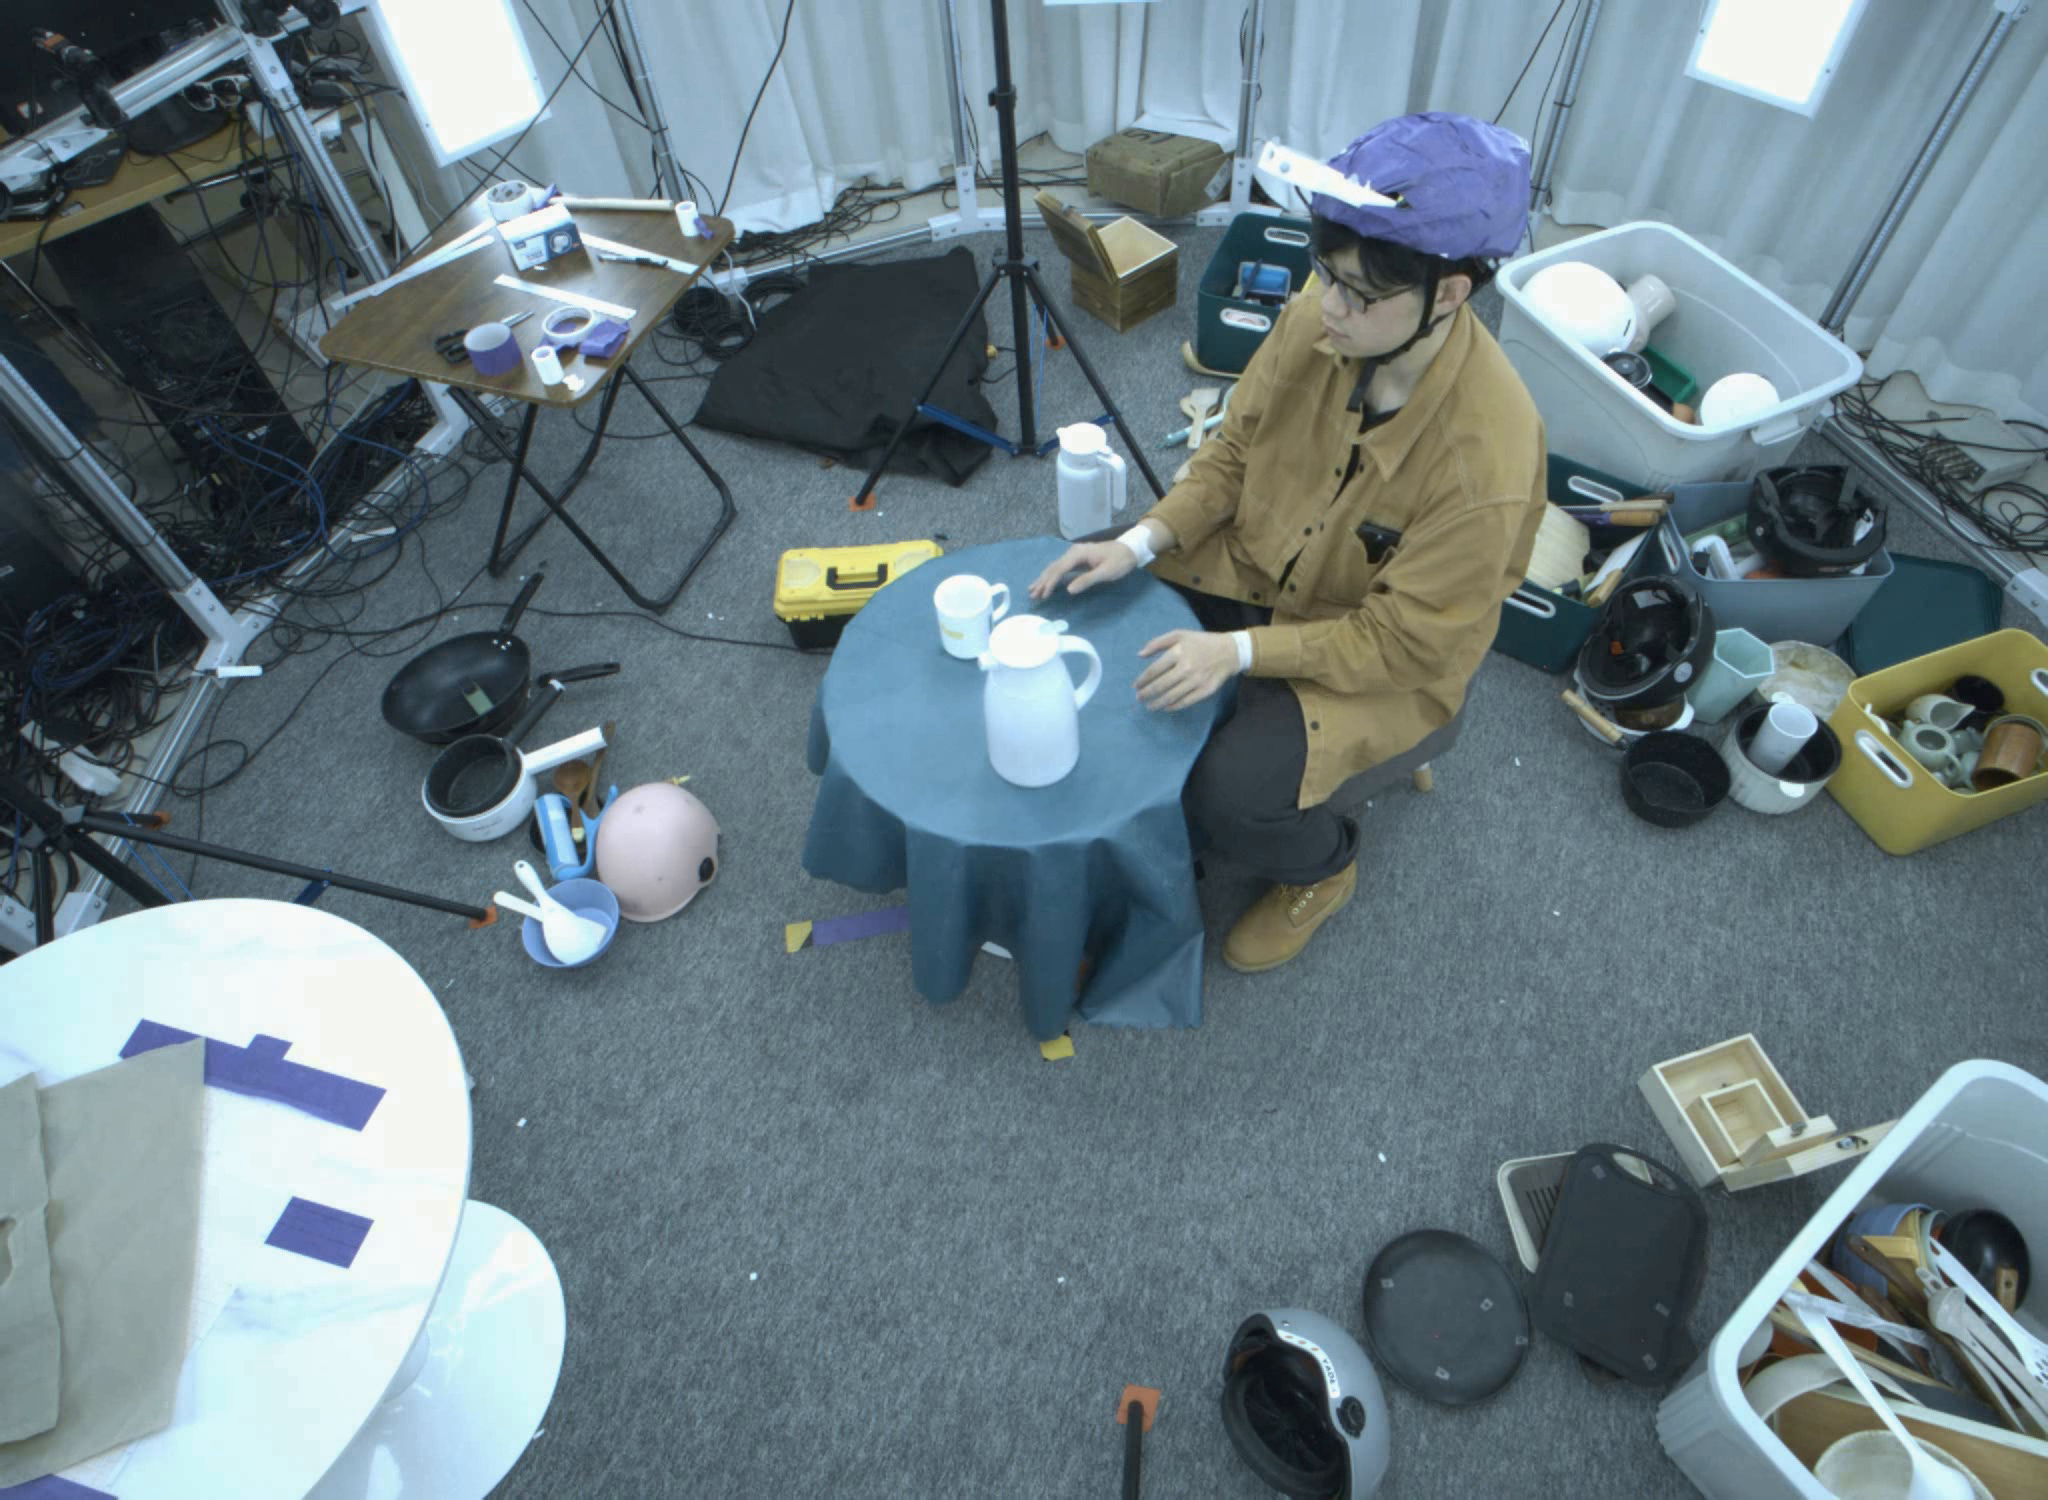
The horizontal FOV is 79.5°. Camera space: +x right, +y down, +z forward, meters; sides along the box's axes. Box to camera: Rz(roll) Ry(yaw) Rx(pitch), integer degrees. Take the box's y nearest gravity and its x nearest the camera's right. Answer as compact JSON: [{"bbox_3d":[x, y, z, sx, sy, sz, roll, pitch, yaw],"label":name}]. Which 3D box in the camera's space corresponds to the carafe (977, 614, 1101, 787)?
[{"bbox_3d":[0.024,-0.080,1.686,0.169,0.251,0.130,-18,54,-10],"label":"carafe"}]

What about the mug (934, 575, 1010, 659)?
[{"bbox_3d":[-0.076,-0.208,1.871,0.119,0.103,0.083,-28,58,-17],"label":"mug"}]
